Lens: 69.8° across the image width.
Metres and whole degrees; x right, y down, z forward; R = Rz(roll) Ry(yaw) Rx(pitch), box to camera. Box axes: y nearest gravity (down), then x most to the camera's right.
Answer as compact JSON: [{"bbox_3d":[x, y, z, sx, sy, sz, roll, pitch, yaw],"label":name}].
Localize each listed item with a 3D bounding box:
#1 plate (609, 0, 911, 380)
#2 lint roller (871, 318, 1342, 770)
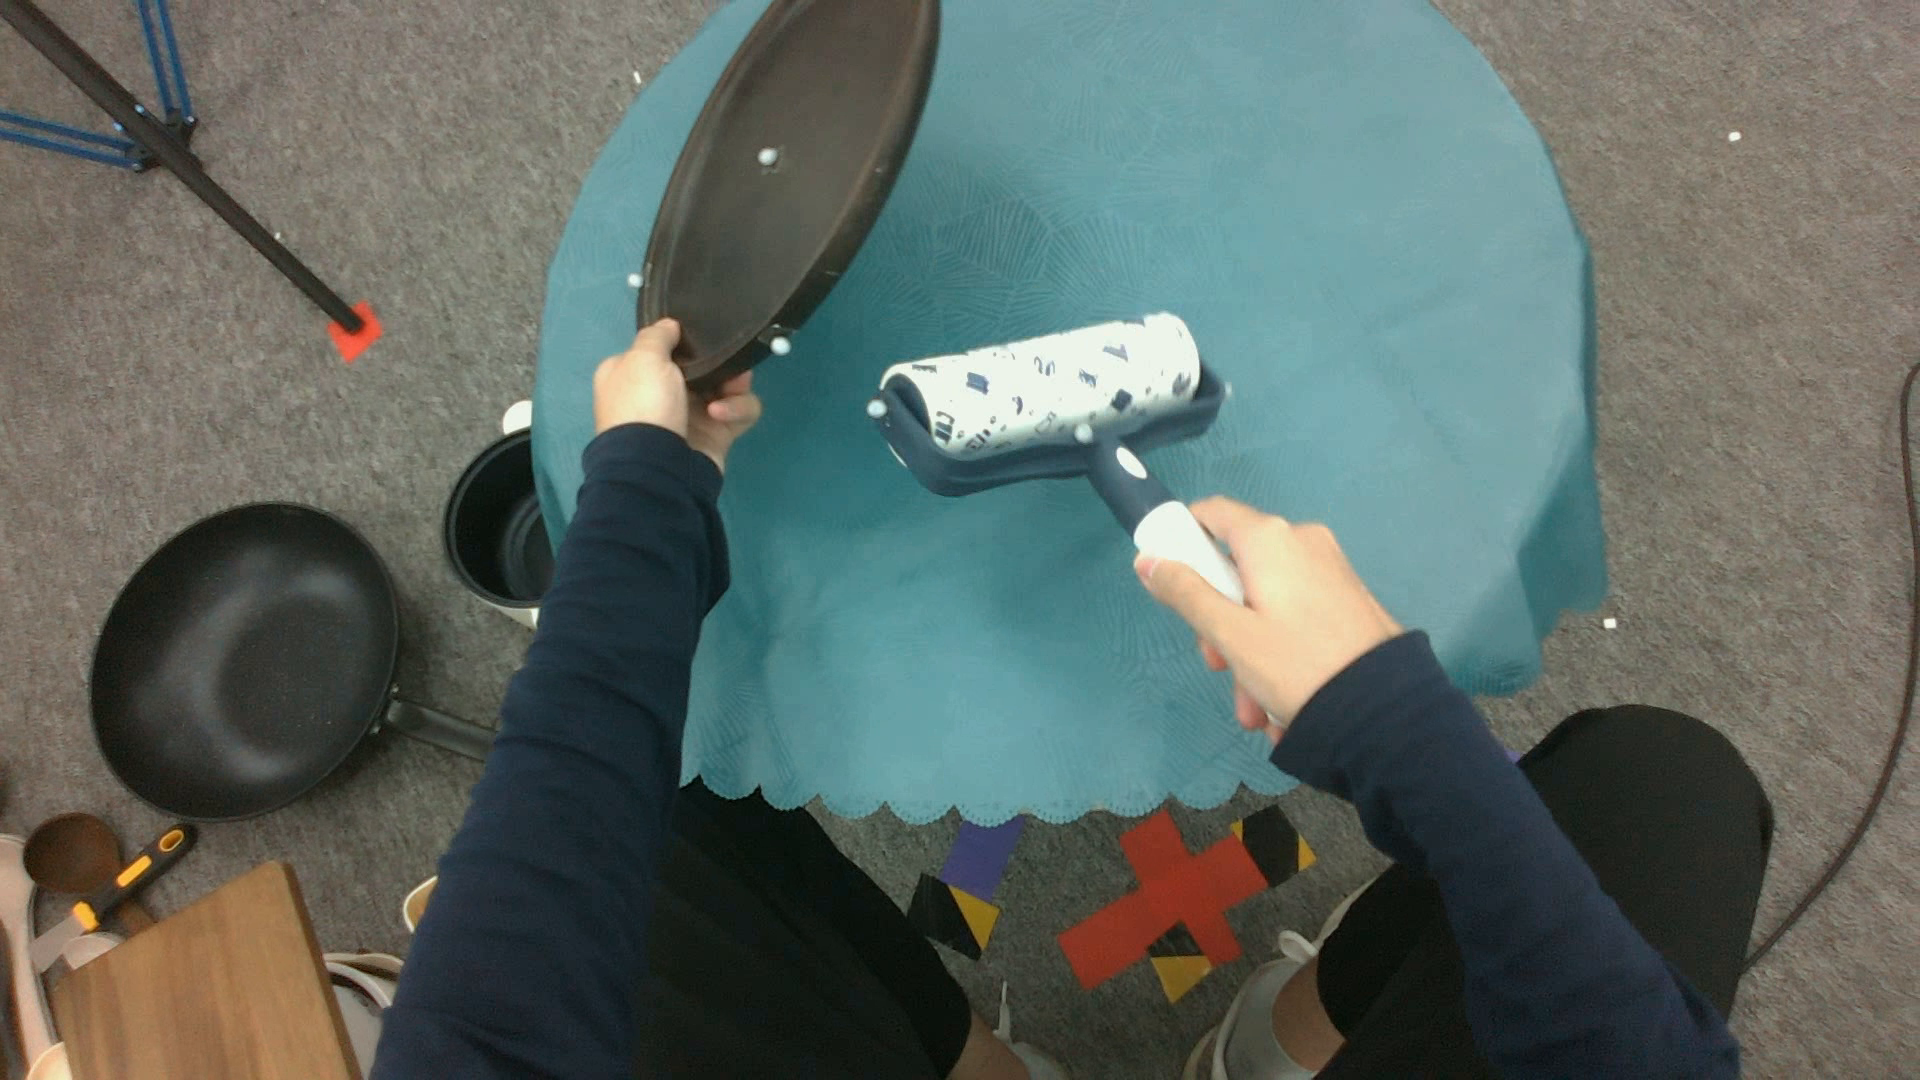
[{"bbox_3d":[-0.106,-0.198,0.698,0.253,0.029,0.256,-29,51,43],"label":"plate"},{"bbox_3d":[0.090,-0.007,0.606,0.177,0.050,0.247,-12,52,-37],"label":"lint roller"}]
